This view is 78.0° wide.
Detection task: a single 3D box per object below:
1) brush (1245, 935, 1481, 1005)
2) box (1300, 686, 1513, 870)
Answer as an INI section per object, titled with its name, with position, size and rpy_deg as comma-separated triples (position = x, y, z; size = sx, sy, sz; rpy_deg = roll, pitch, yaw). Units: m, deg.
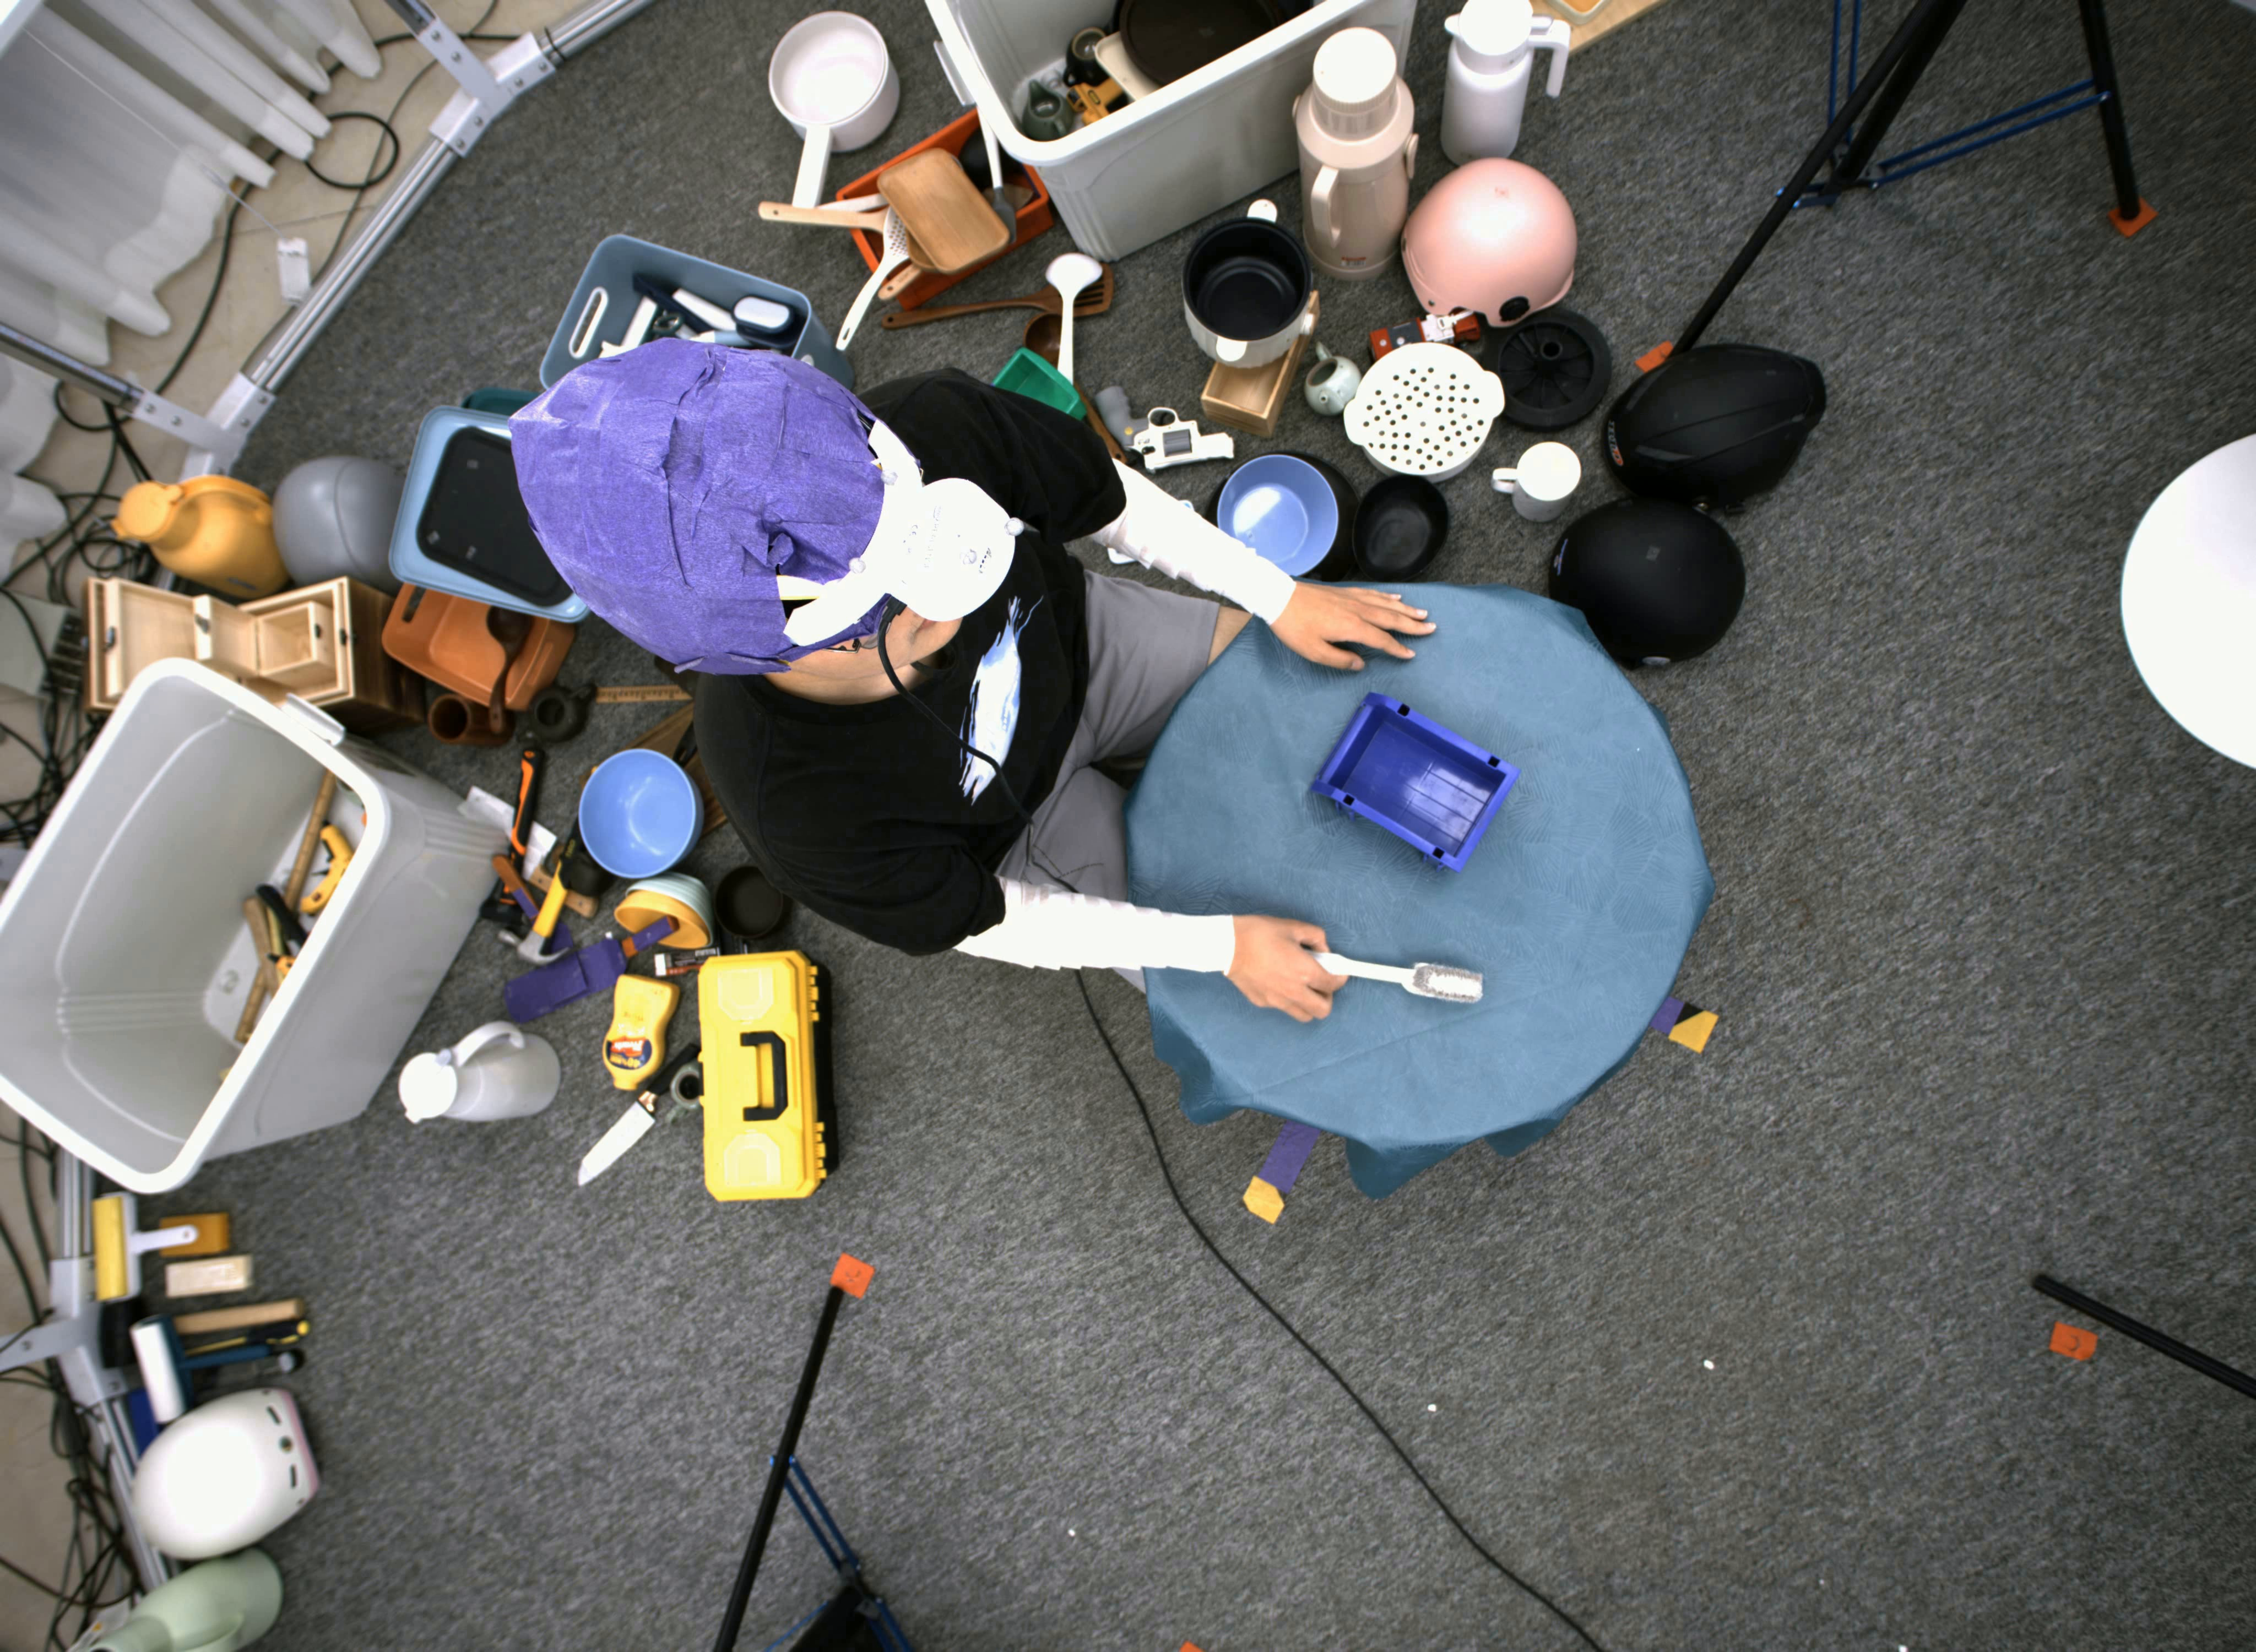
[brush]
position = 0.241, 0.145, 1.430
size = 0.244, 0.050, 0.034
rpy_deg = 11, 86, 8
[box]
position = 0.283, -0.050, 1.421
size = 0.179, 0.082, 0.125
rpy_deg = 33, 93, 9
